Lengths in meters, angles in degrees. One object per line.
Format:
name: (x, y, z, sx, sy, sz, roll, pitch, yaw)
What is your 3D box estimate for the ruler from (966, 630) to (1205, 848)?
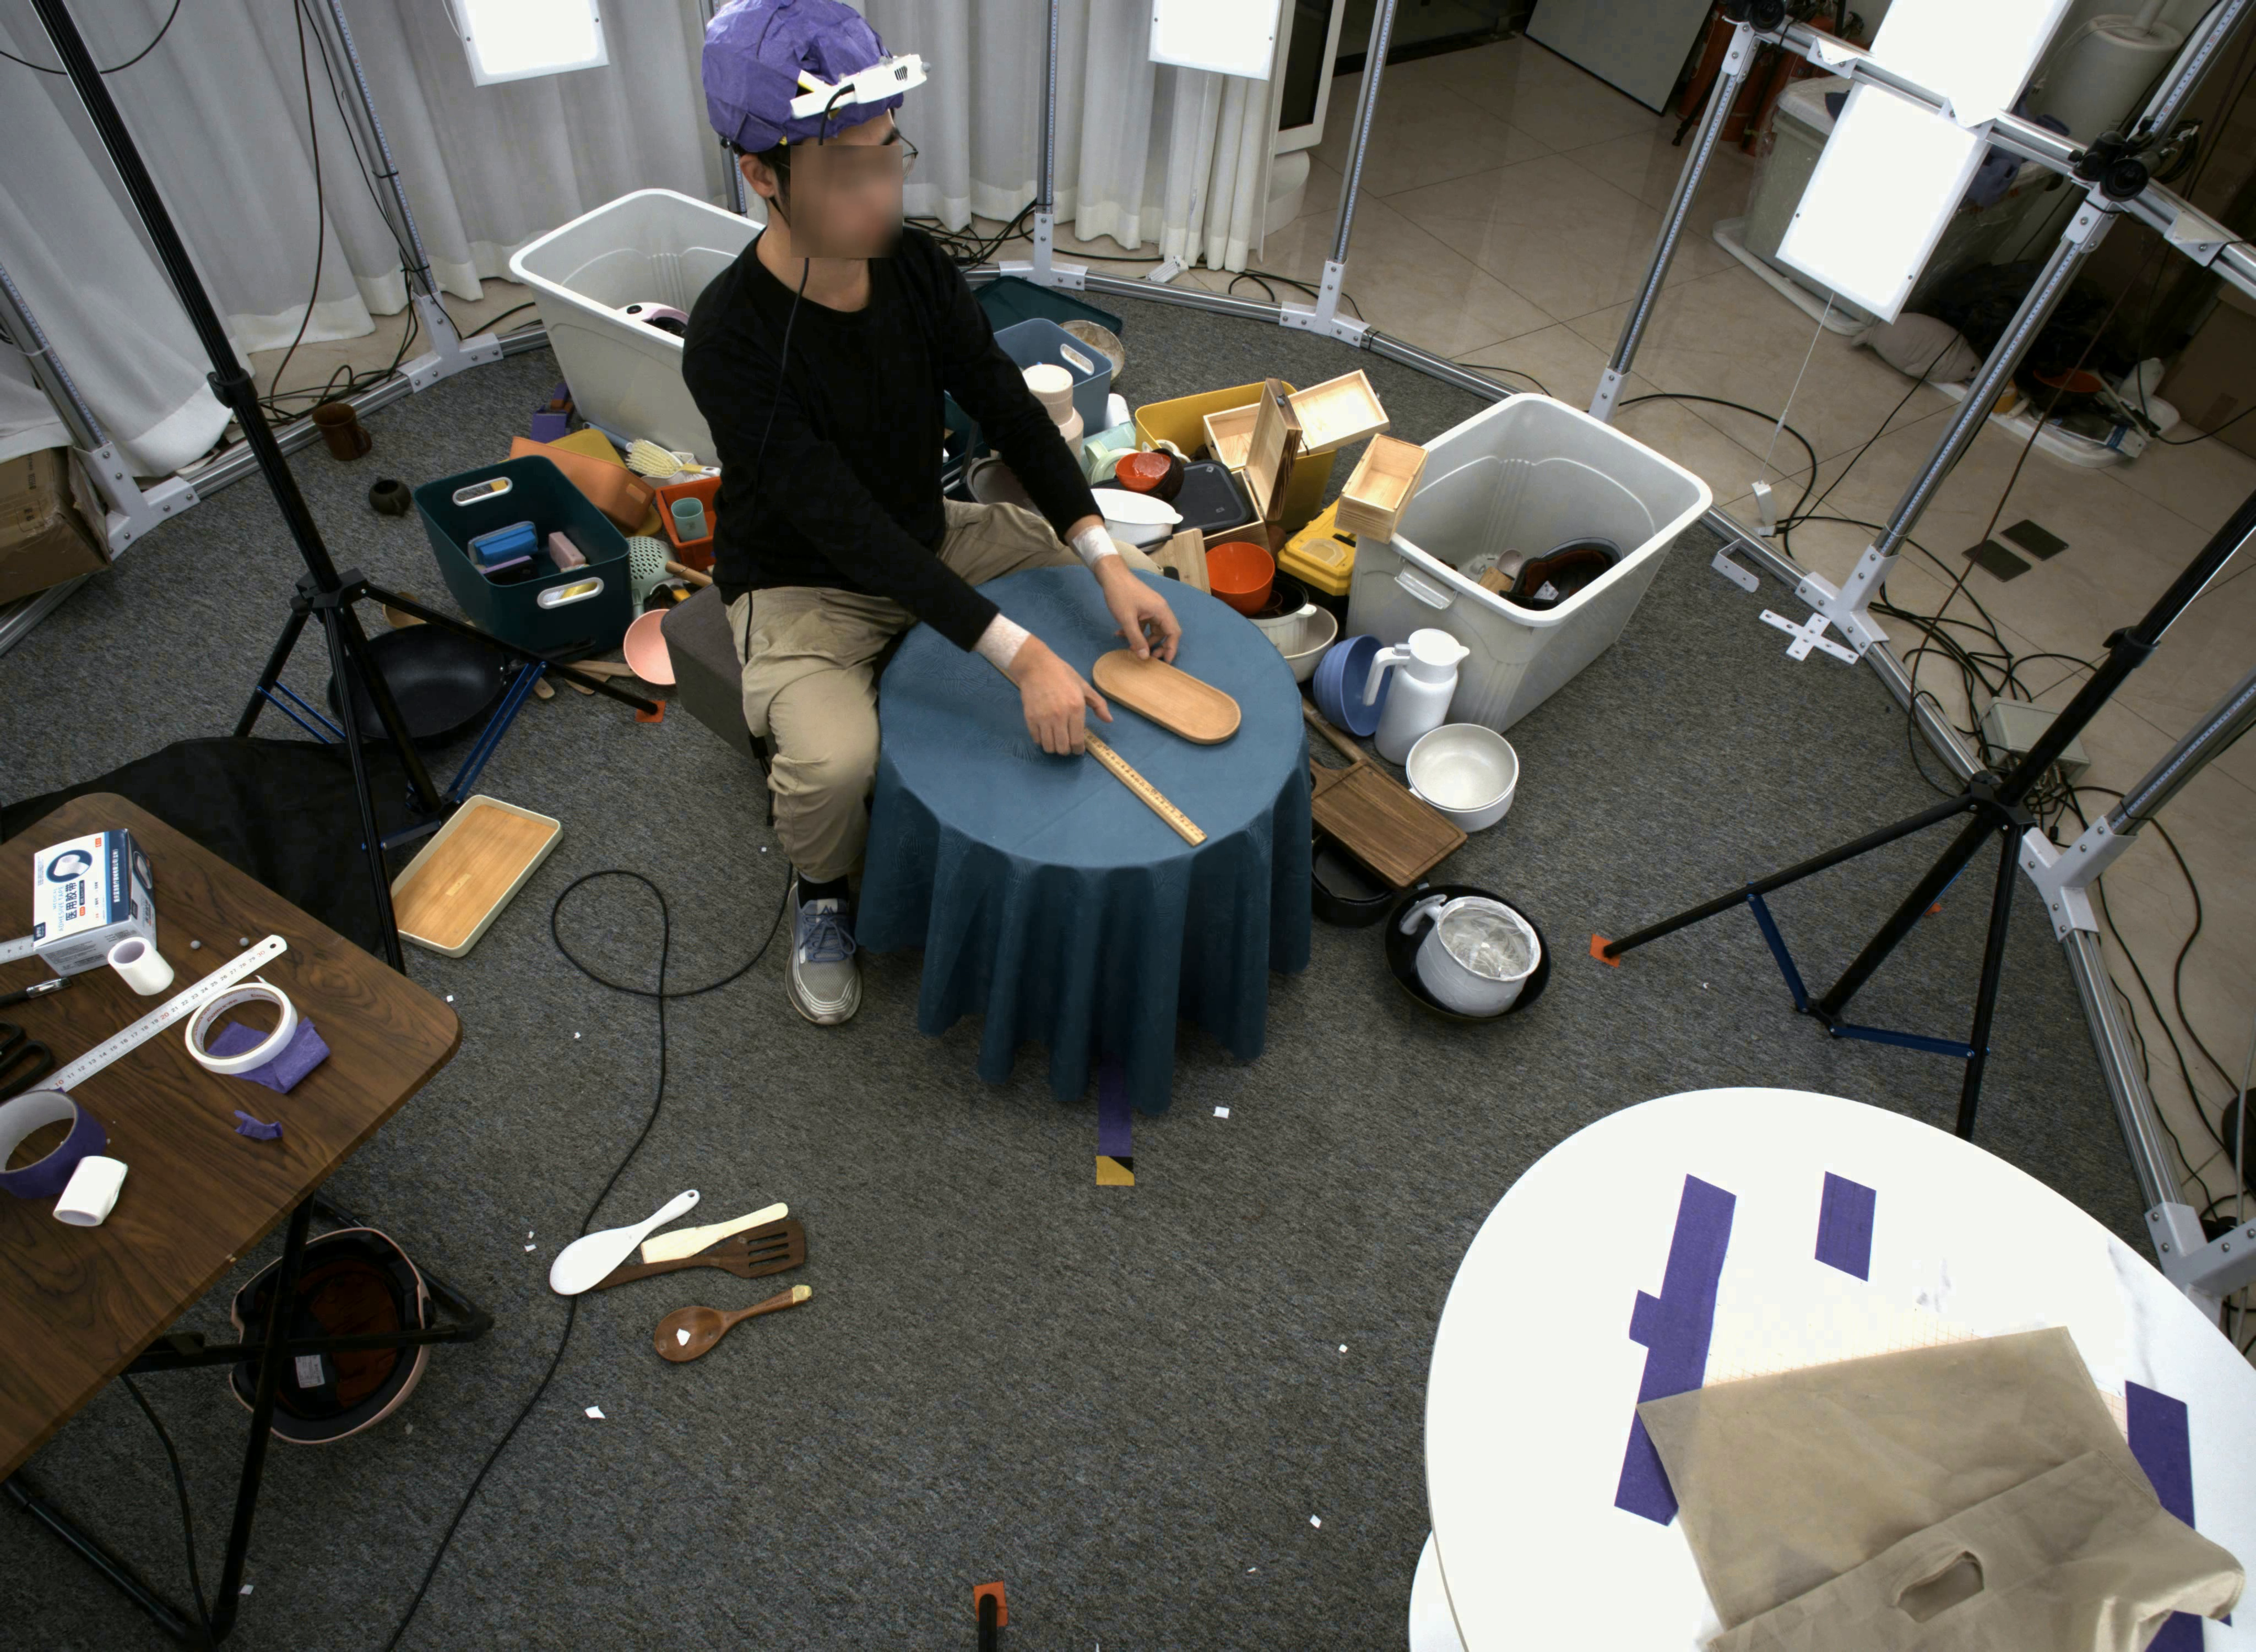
ruler: (-0.068, -0.132, 1.777, 0.027, 0.006, 0.509, -30, 57, -27)

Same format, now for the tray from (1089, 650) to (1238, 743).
tray: (0.049, -0.185, 1.823, 0.233, 0.020, 0.103, 27, 51, 20)
